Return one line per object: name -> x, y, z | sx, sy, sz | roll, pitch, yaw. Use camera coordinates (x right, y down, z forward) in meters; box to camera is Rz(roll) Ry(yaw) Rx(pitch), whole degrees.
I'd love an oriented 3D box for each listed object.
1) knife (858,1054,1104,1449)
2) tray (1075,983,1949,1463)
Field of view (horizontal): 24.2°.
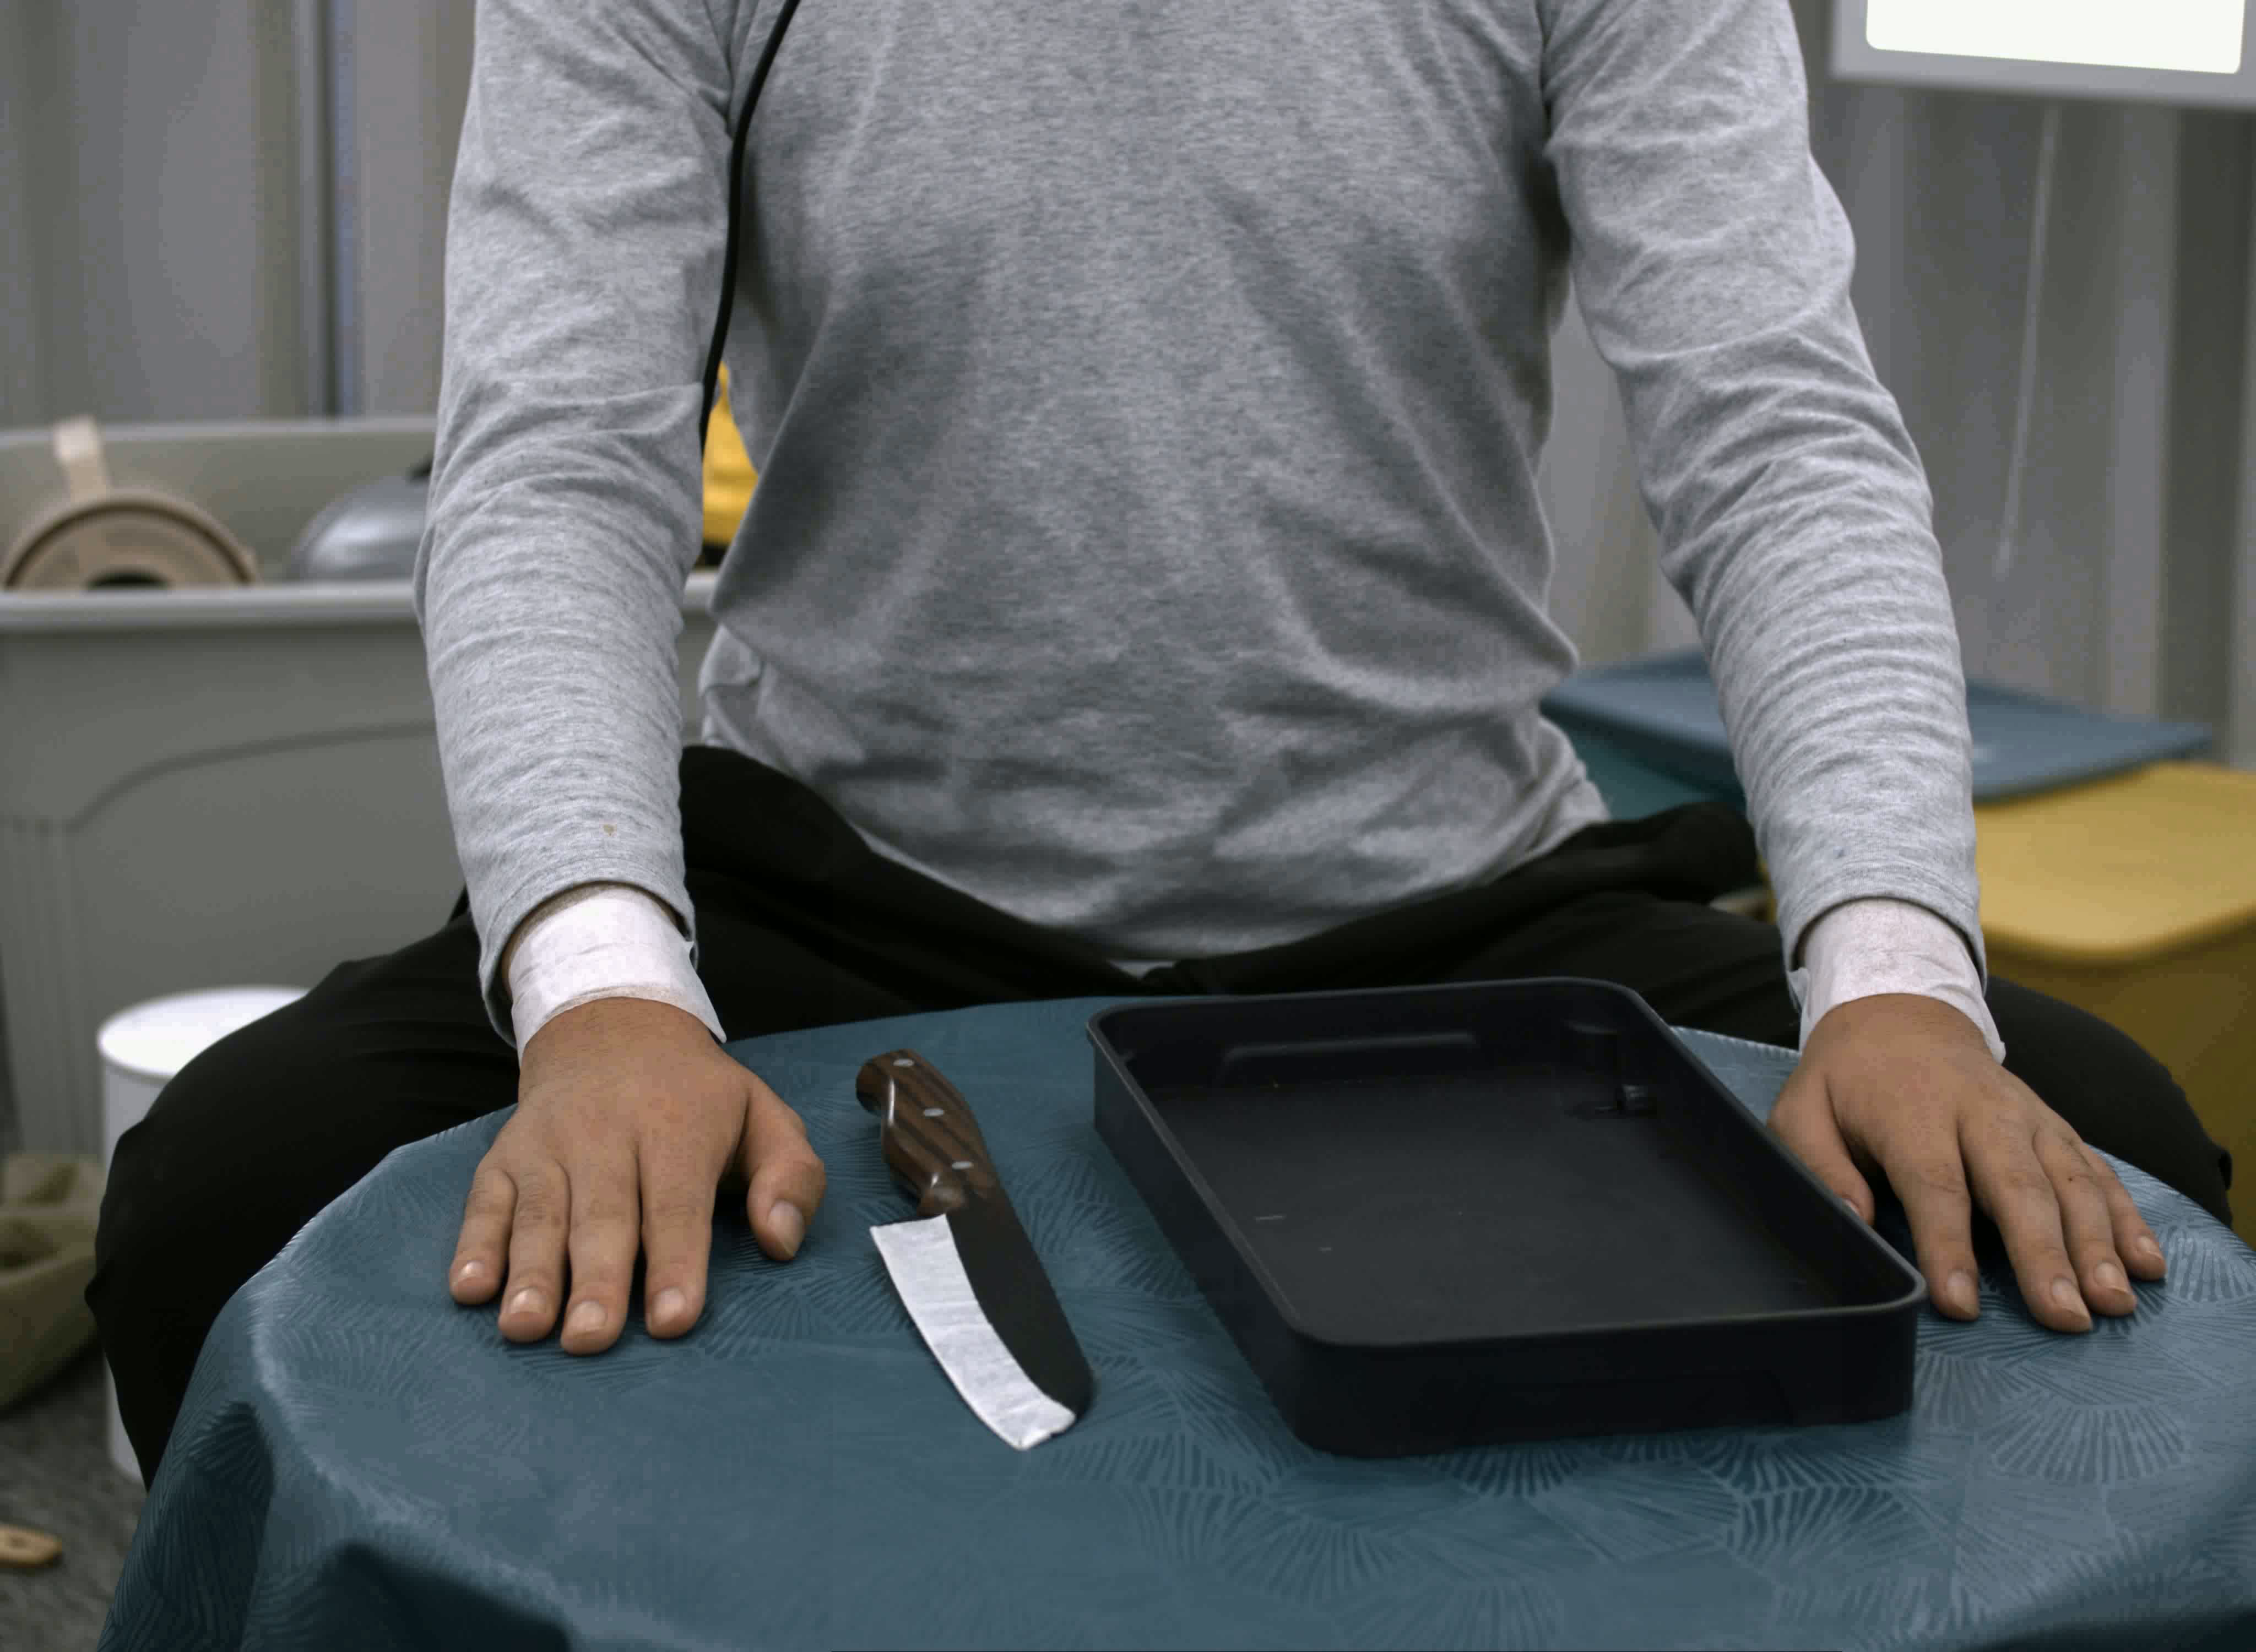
knife -> -0.049, 0.124, 1.553 | 0.050, 0.020, 0.286 | -7, 19, -8
tray -> 0.104, 0.111, 1.566 | 0.184, 0.037, 0.315 | -3, 15, -14
